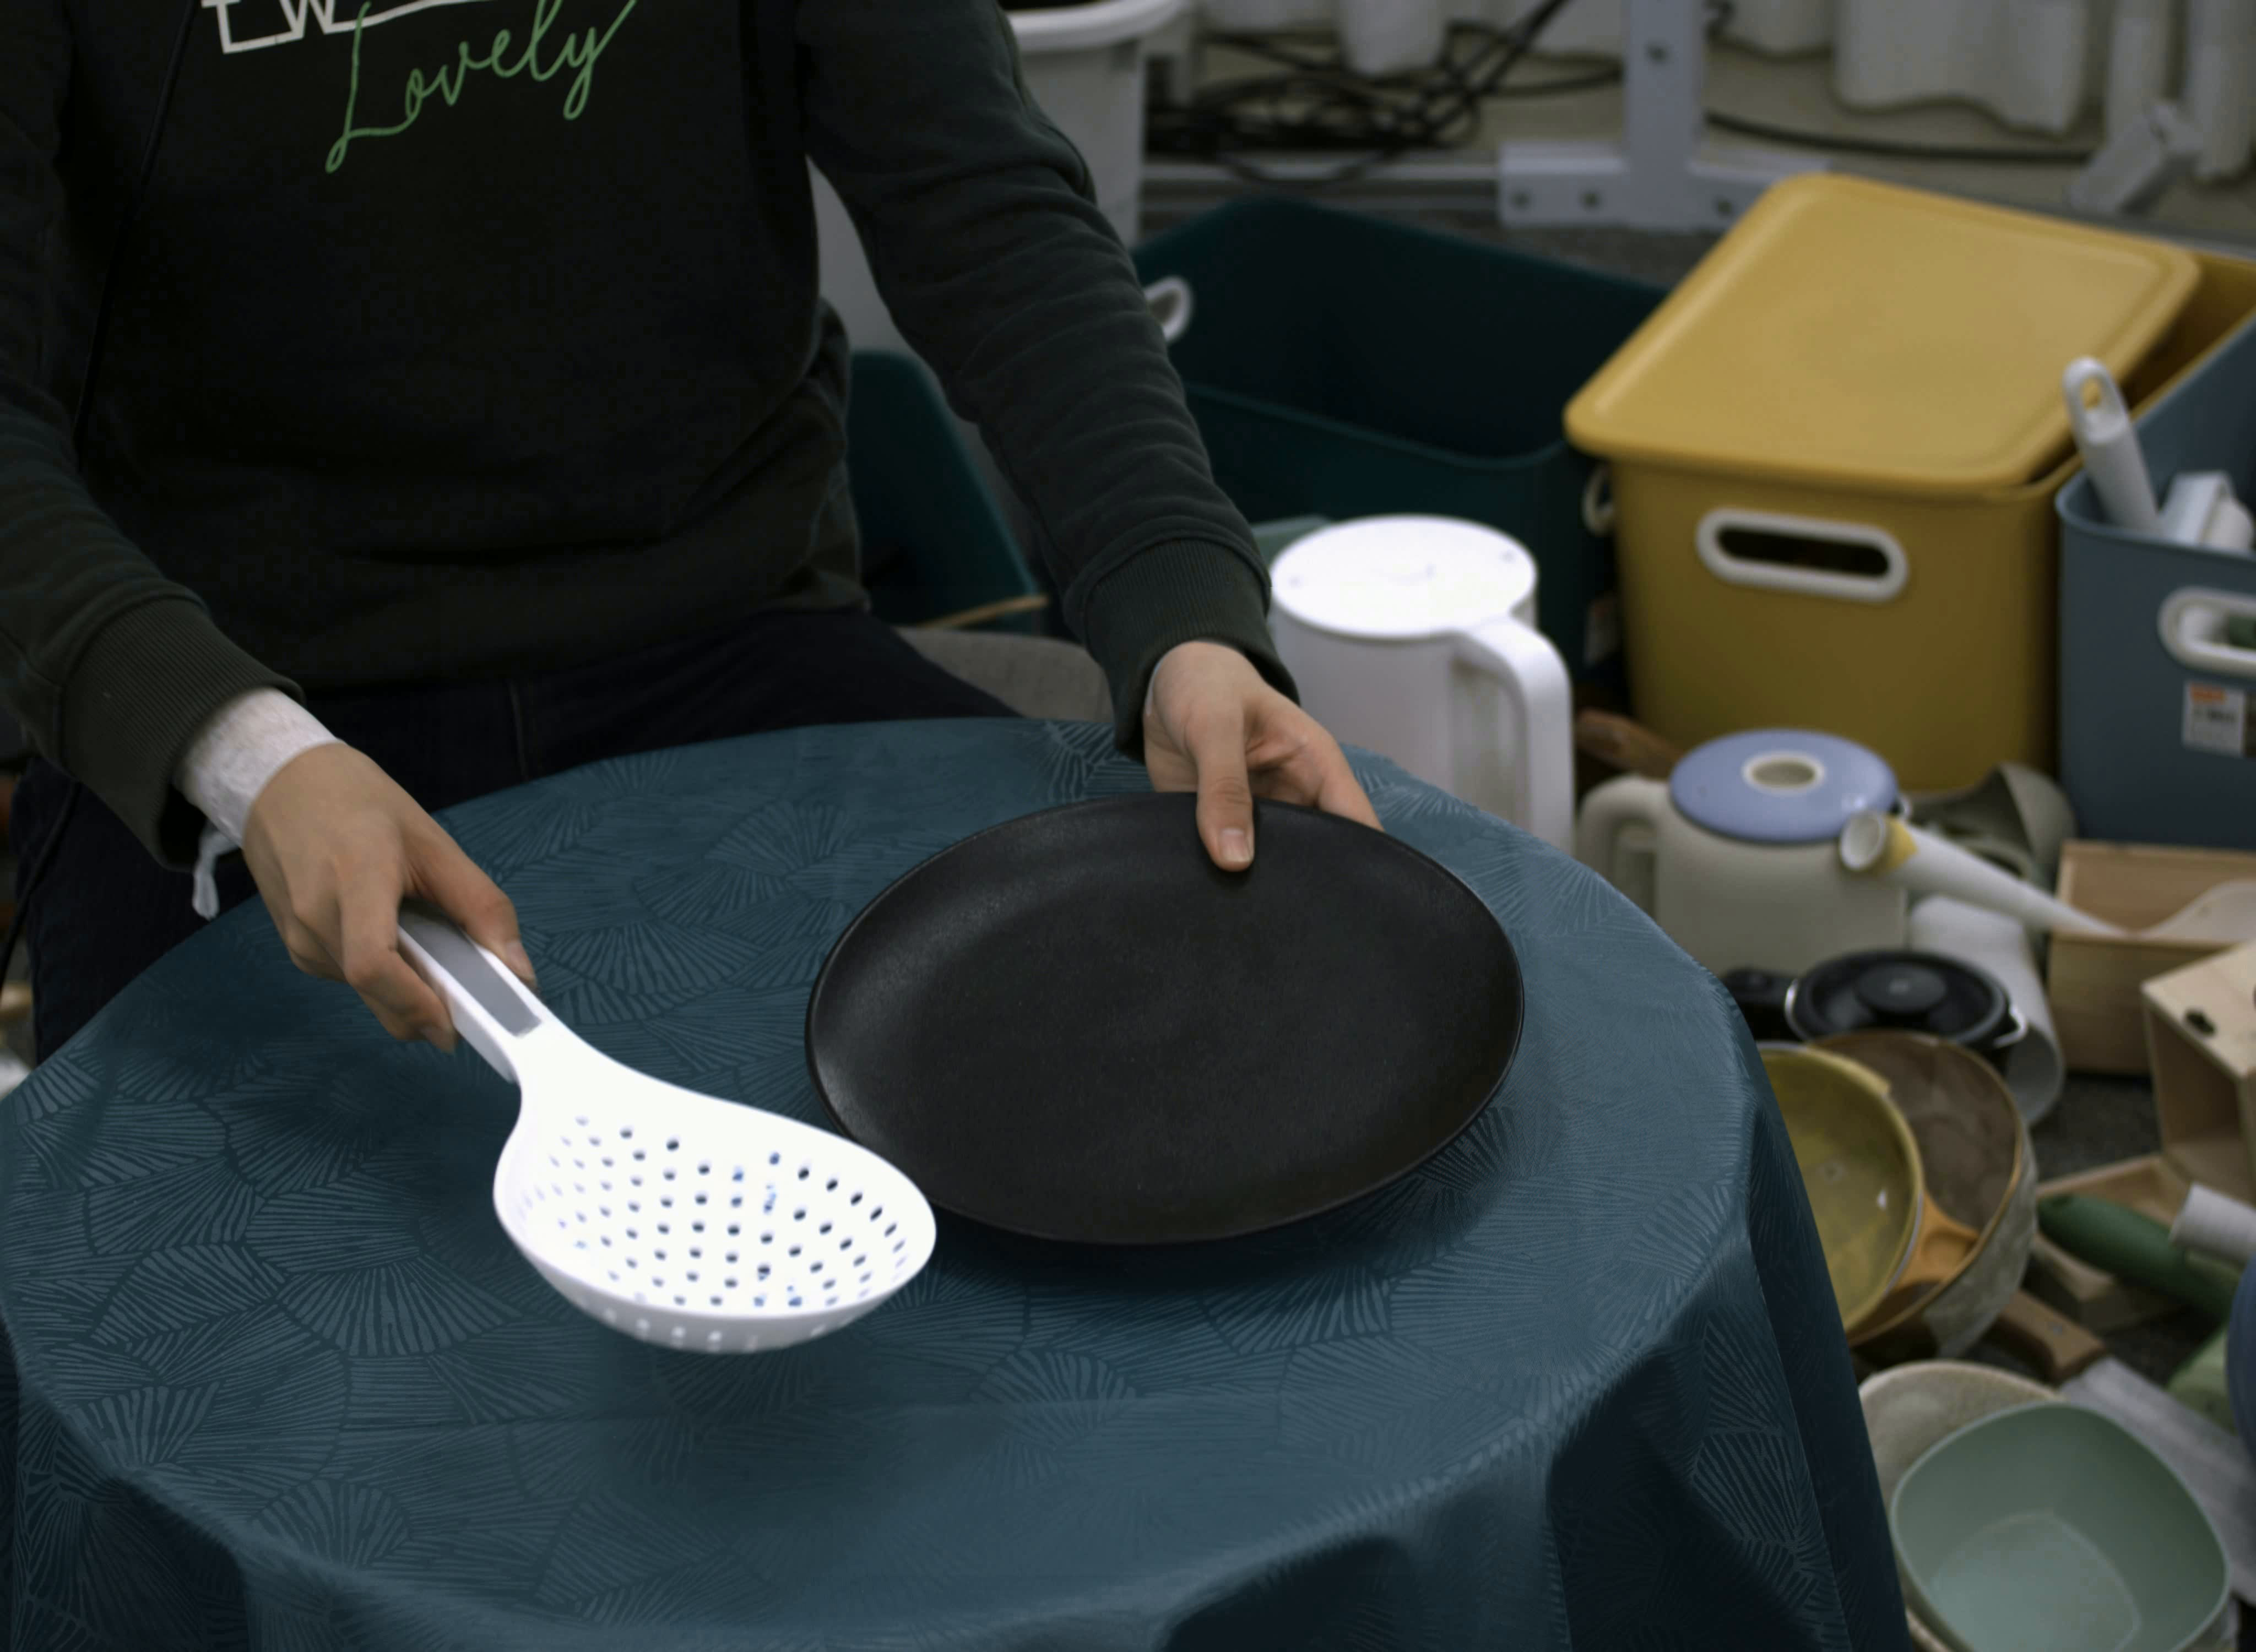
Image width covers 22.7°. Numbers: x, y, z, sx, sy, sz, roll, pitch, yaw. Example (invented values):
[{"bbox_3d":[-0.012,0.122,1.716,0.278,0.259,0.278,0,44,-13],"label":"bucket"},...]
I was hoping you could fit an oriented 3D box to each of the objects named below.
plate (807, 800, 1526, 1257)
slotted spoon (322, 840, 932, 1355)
[{"bbox_3d":[0.013,0.070,1.894,0.243,0.023,0.249,-2,36,2],"label":"plate"},{"bbox_3d":[-0.182,0.082,1.808,0.136,0.045,0.352,-5,31,-31],"label":"slotted spoon"}]
